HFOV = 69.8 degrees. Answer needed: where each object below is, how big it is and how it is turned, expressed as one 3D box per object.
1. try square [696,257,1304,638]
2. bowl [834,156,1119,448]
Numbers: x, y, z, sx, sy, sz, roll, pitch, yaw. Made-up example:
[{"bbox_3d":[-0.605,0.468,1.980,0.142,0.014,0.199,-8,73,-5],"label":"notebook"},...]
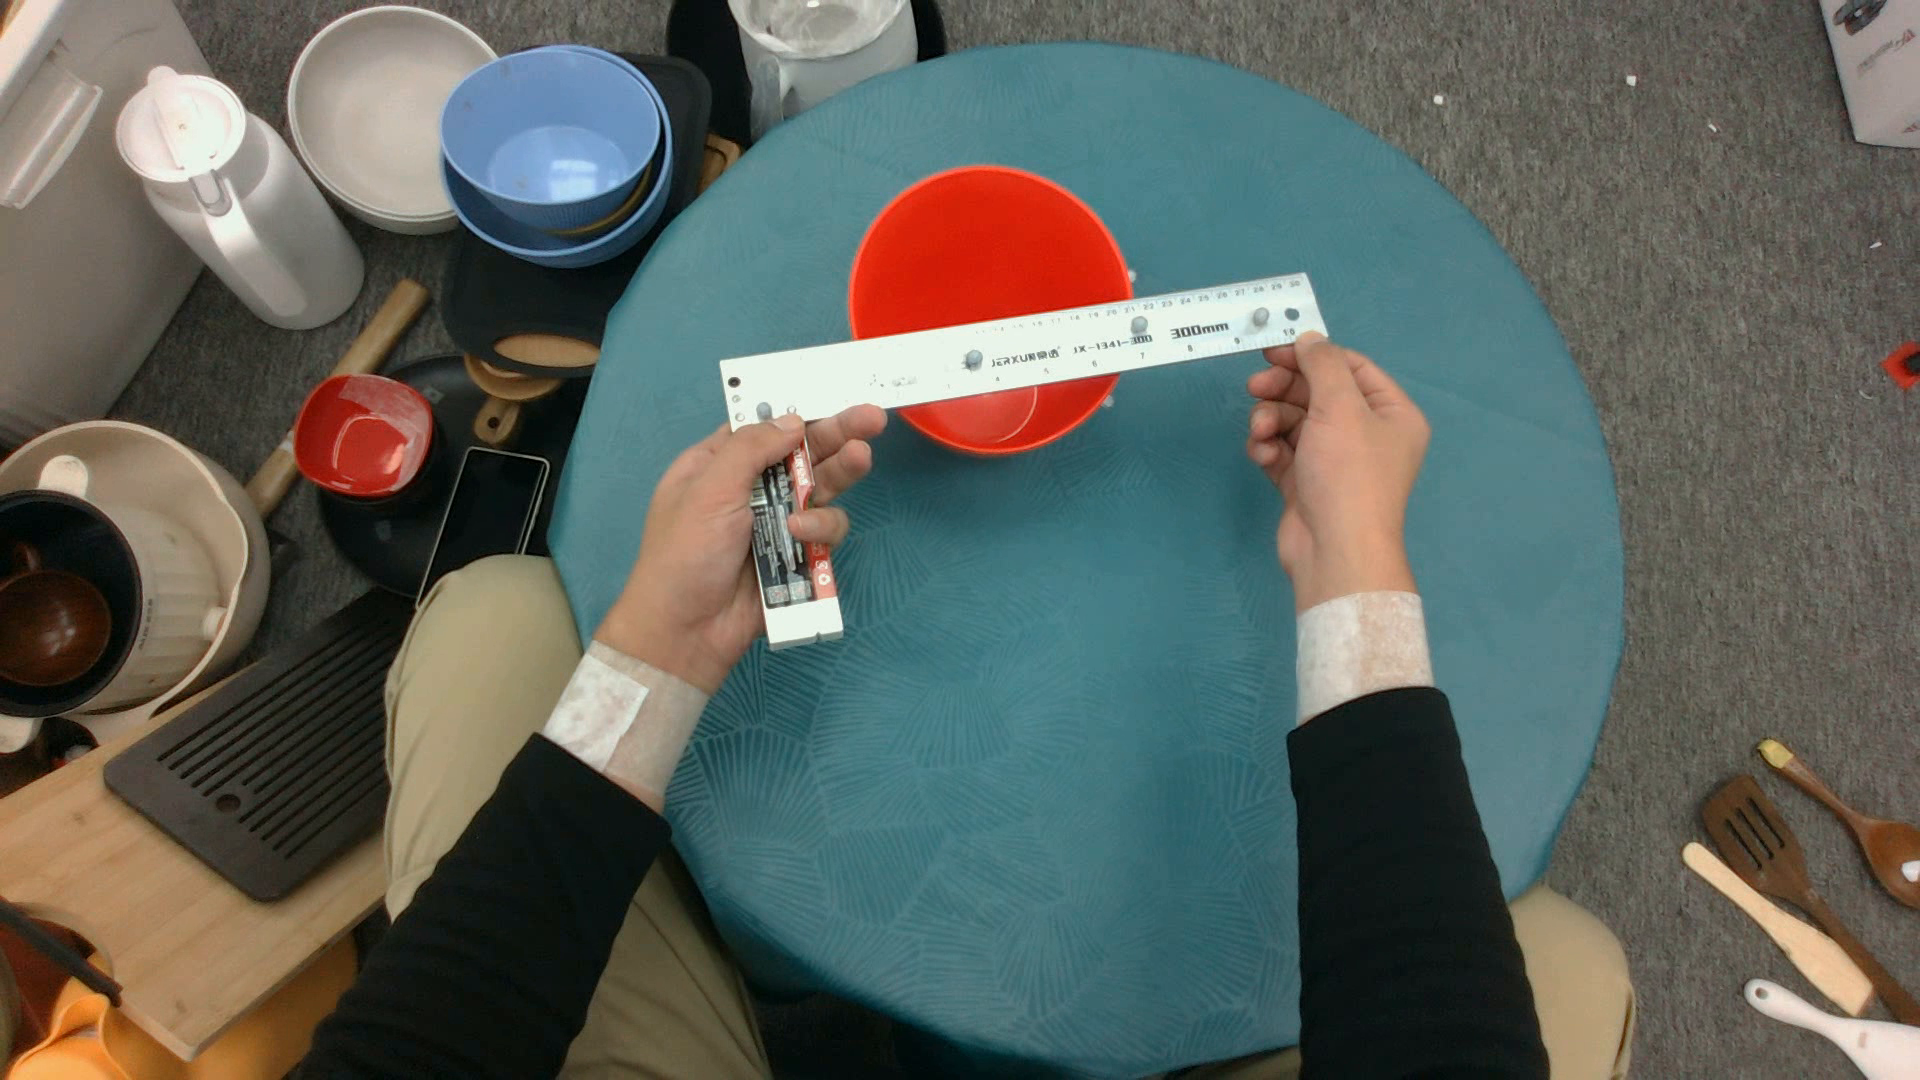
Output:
[{"bbox_3d":[0.036,-0.053,0.677,0.313,0.016,0.152,-10,71,-10],"label":"try square"},{"bbox_3d":[0.005,-0.114,0.741,0.148,0.104,0.148,2,74,-7],"label":"bowl"}]
